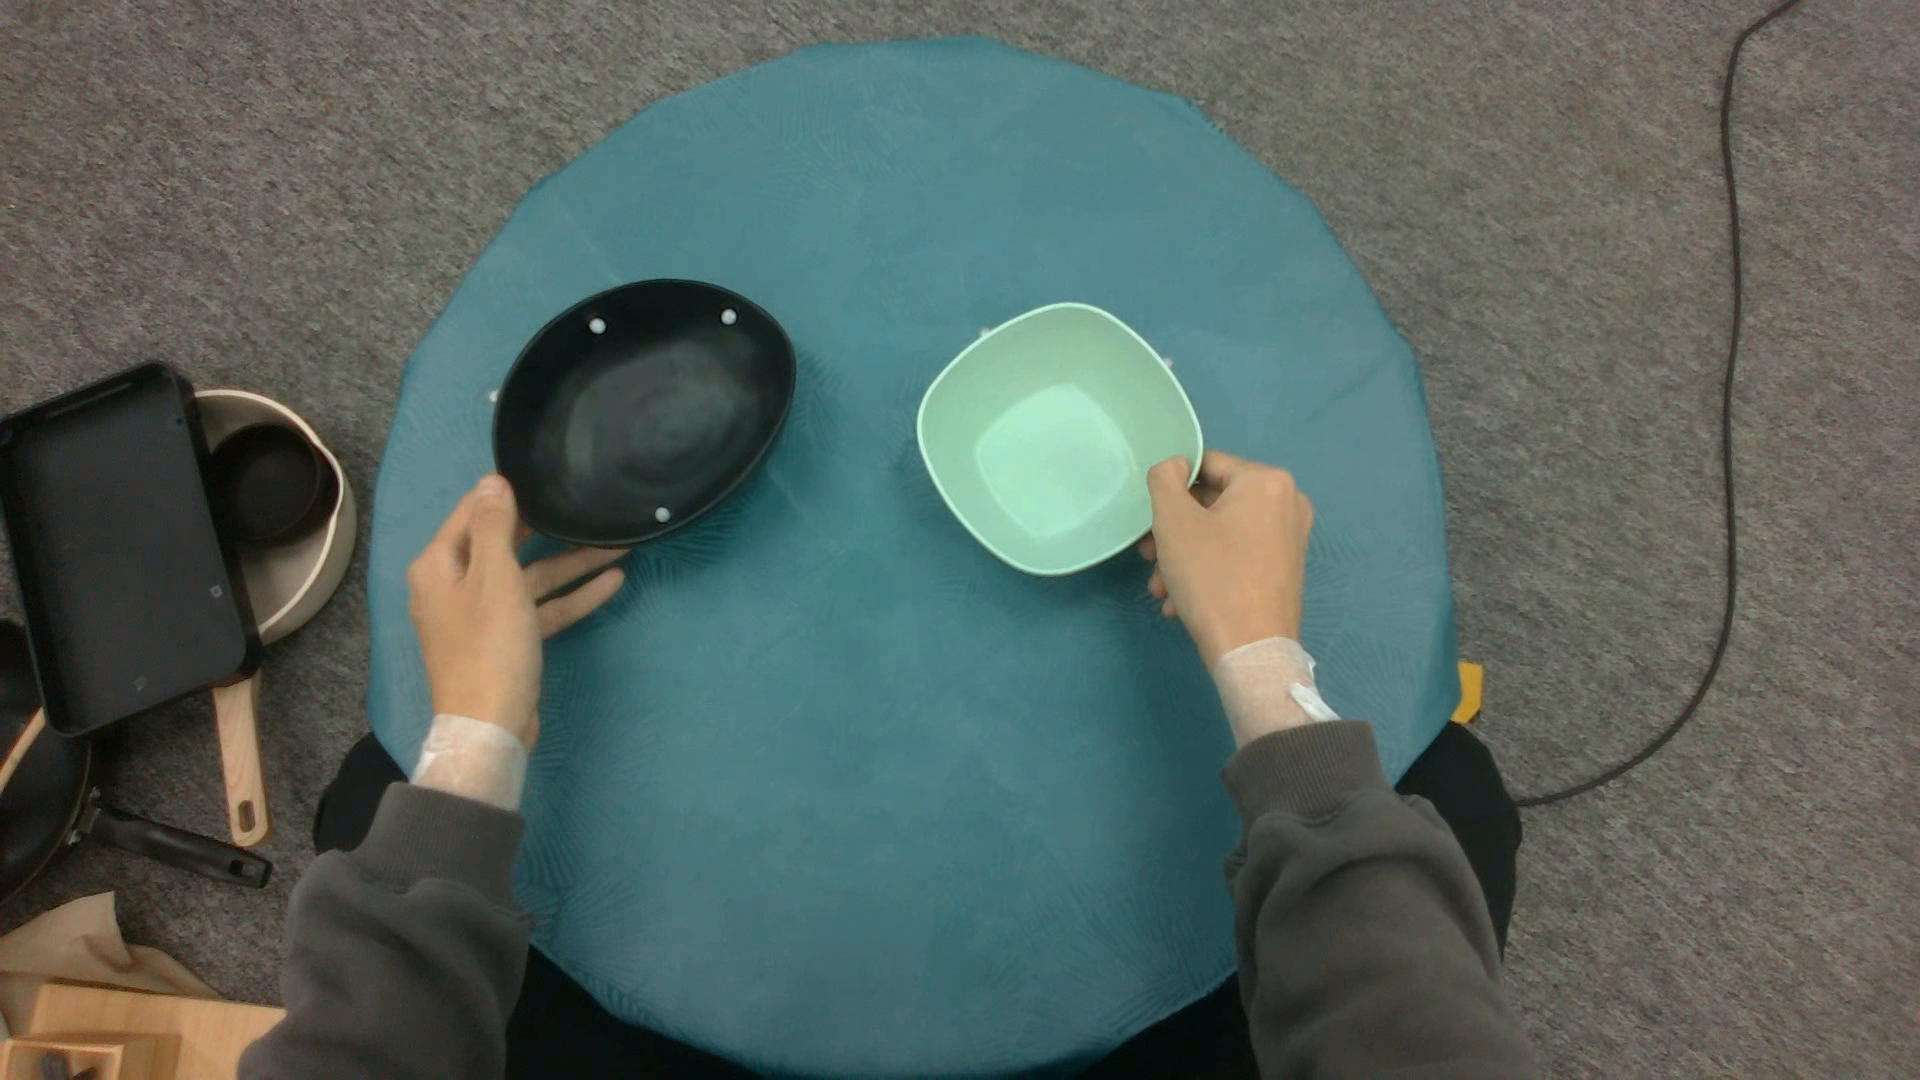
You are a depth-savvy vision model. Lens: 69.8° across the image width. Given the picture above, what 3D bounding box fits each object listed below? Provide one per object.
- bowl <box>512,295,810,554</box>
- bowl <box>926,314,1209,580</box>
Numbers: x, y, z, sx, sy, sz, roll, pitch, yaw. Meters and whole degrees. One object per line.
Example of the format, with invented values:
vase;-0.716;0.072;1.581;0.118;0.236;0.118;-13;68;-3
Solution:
bowl;-0.161;-0.060;0.767;0.170;0.066;0.137;-38;78;-9
bowl;0.058;-0.044;0.758;0.151;0.058;0.152;-1;73;3
